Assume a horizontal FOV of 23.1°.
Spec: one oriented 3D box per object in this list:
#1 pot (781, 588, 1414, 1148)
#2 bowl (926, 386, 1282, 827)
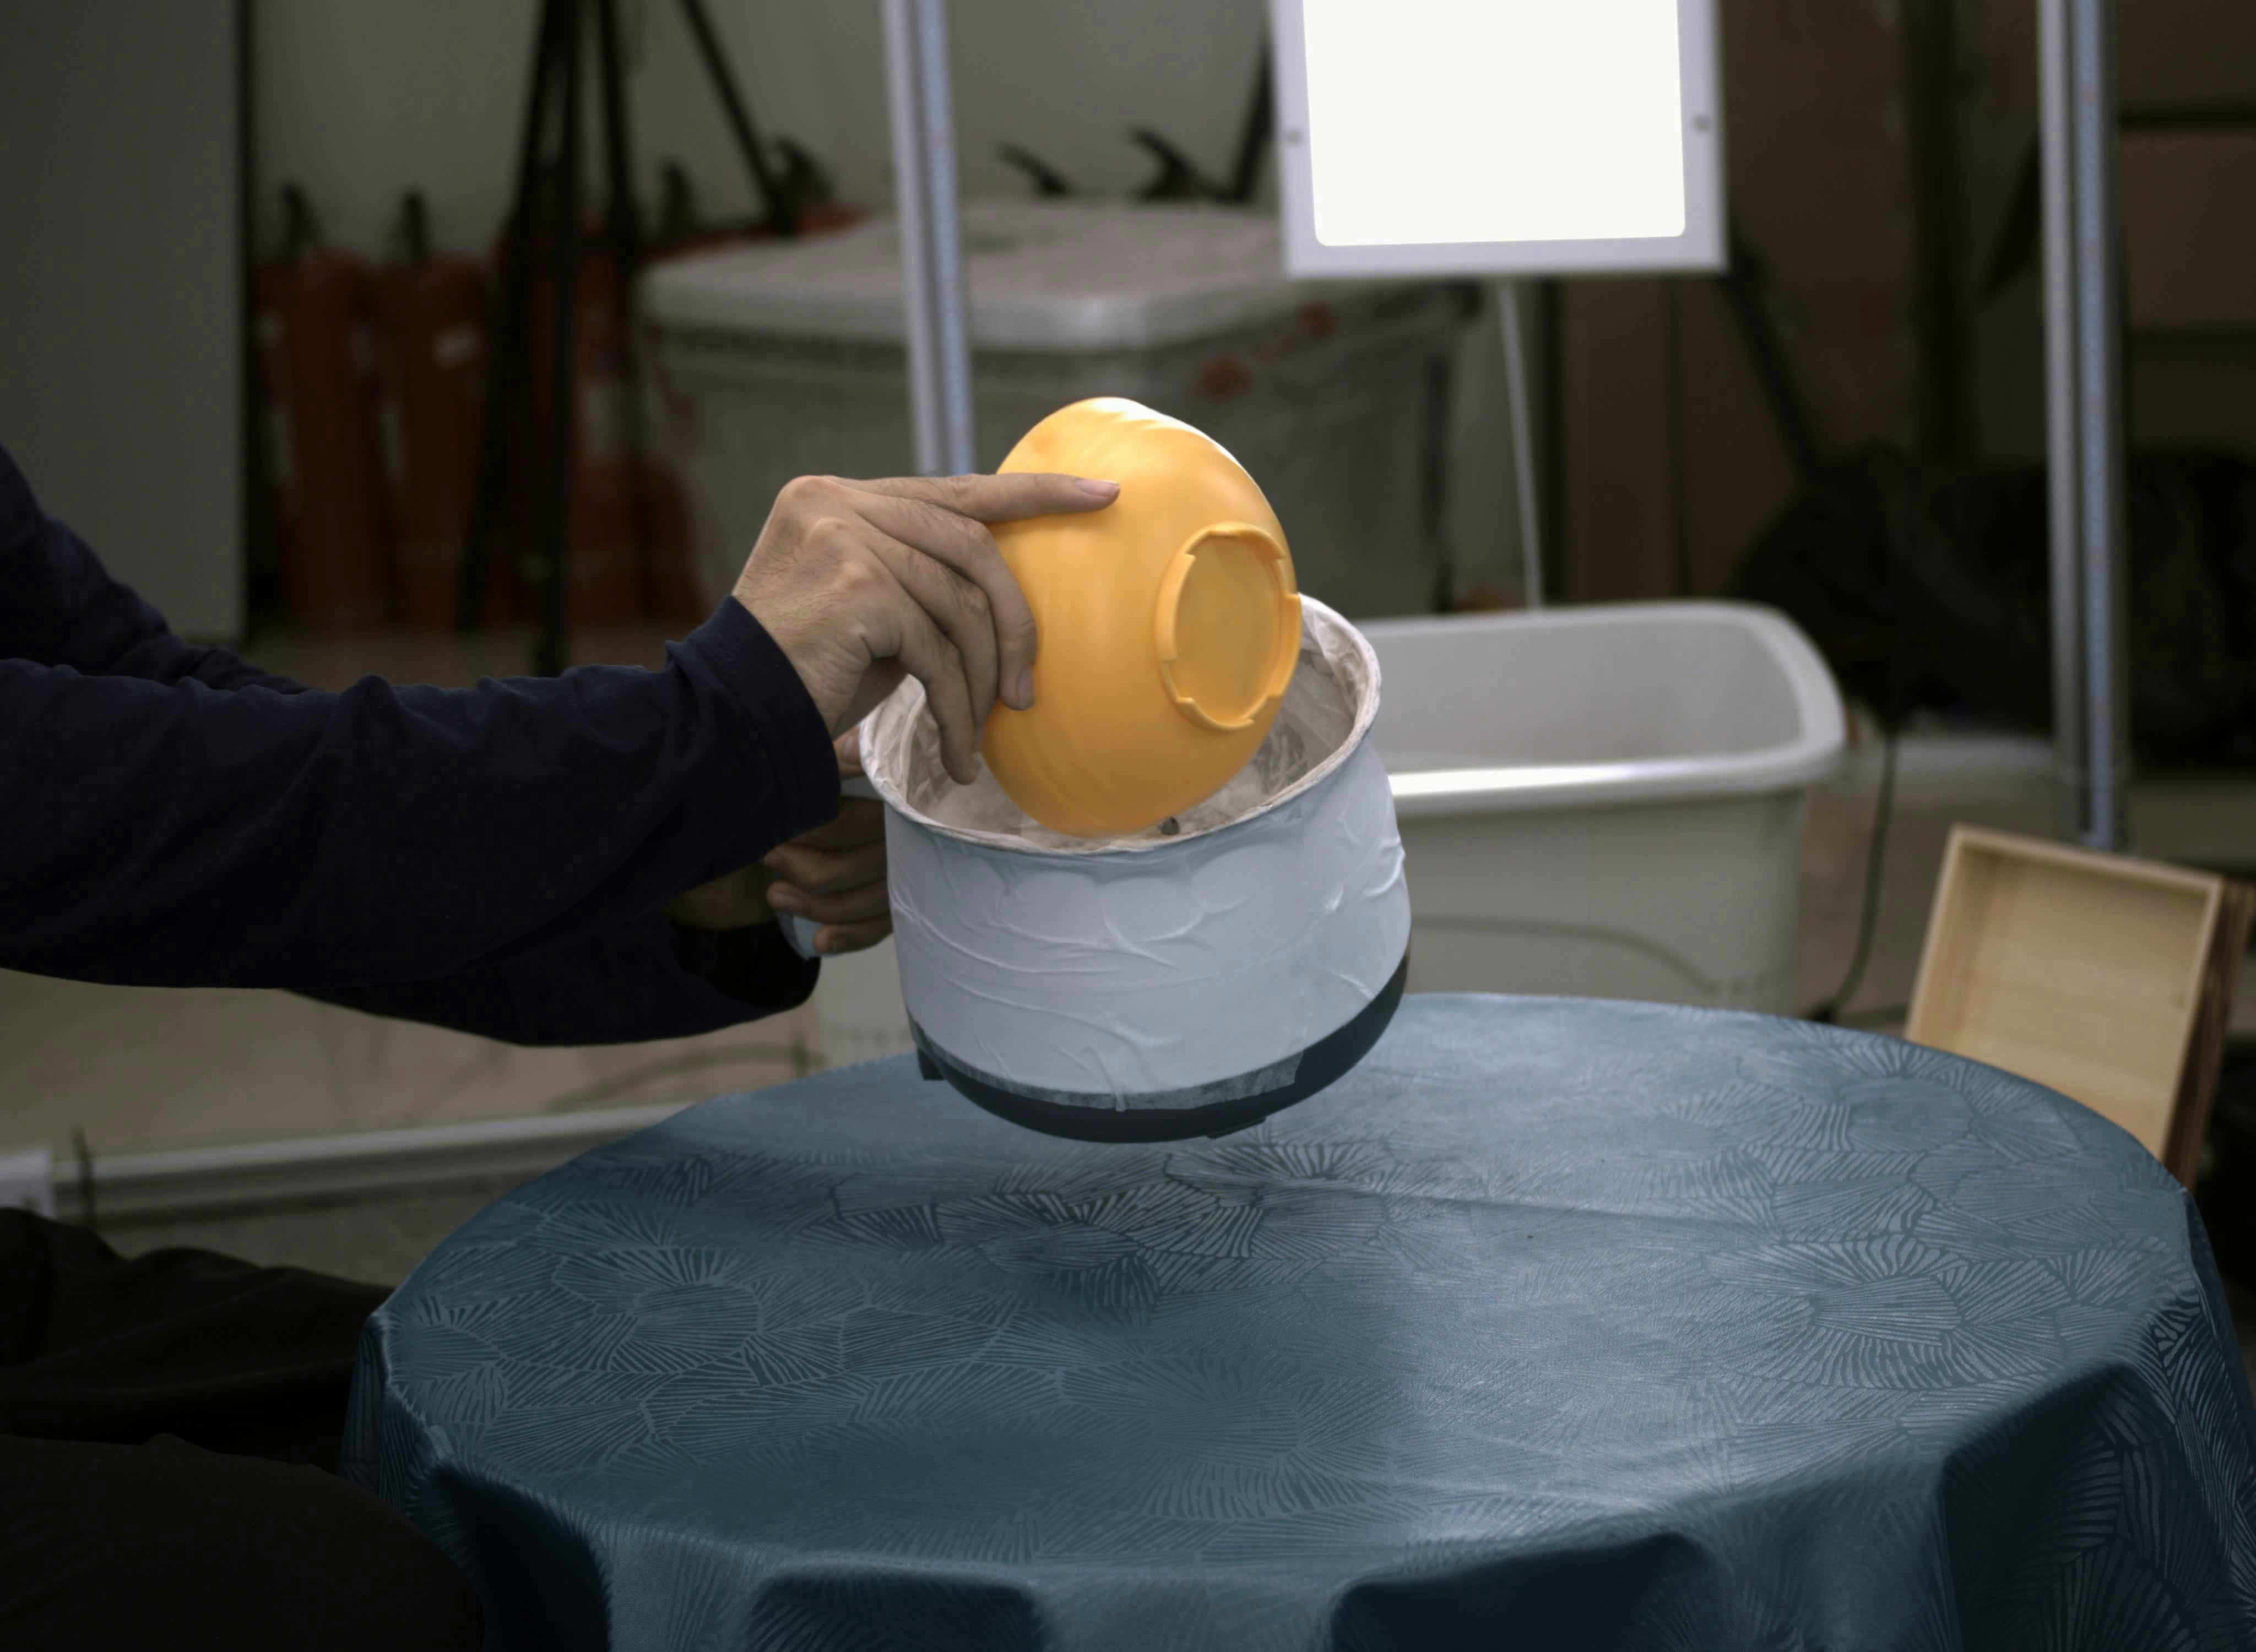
[{"bbox_3d":[-0.019,0.012,1.886,0.237,0.137,0.175,6,35,27],"label":"pot"},{"bbox_3d":[0.006,-0.067,1.778,0.061,0.146,0.141,14,22,43],"label":"bowl"}]
